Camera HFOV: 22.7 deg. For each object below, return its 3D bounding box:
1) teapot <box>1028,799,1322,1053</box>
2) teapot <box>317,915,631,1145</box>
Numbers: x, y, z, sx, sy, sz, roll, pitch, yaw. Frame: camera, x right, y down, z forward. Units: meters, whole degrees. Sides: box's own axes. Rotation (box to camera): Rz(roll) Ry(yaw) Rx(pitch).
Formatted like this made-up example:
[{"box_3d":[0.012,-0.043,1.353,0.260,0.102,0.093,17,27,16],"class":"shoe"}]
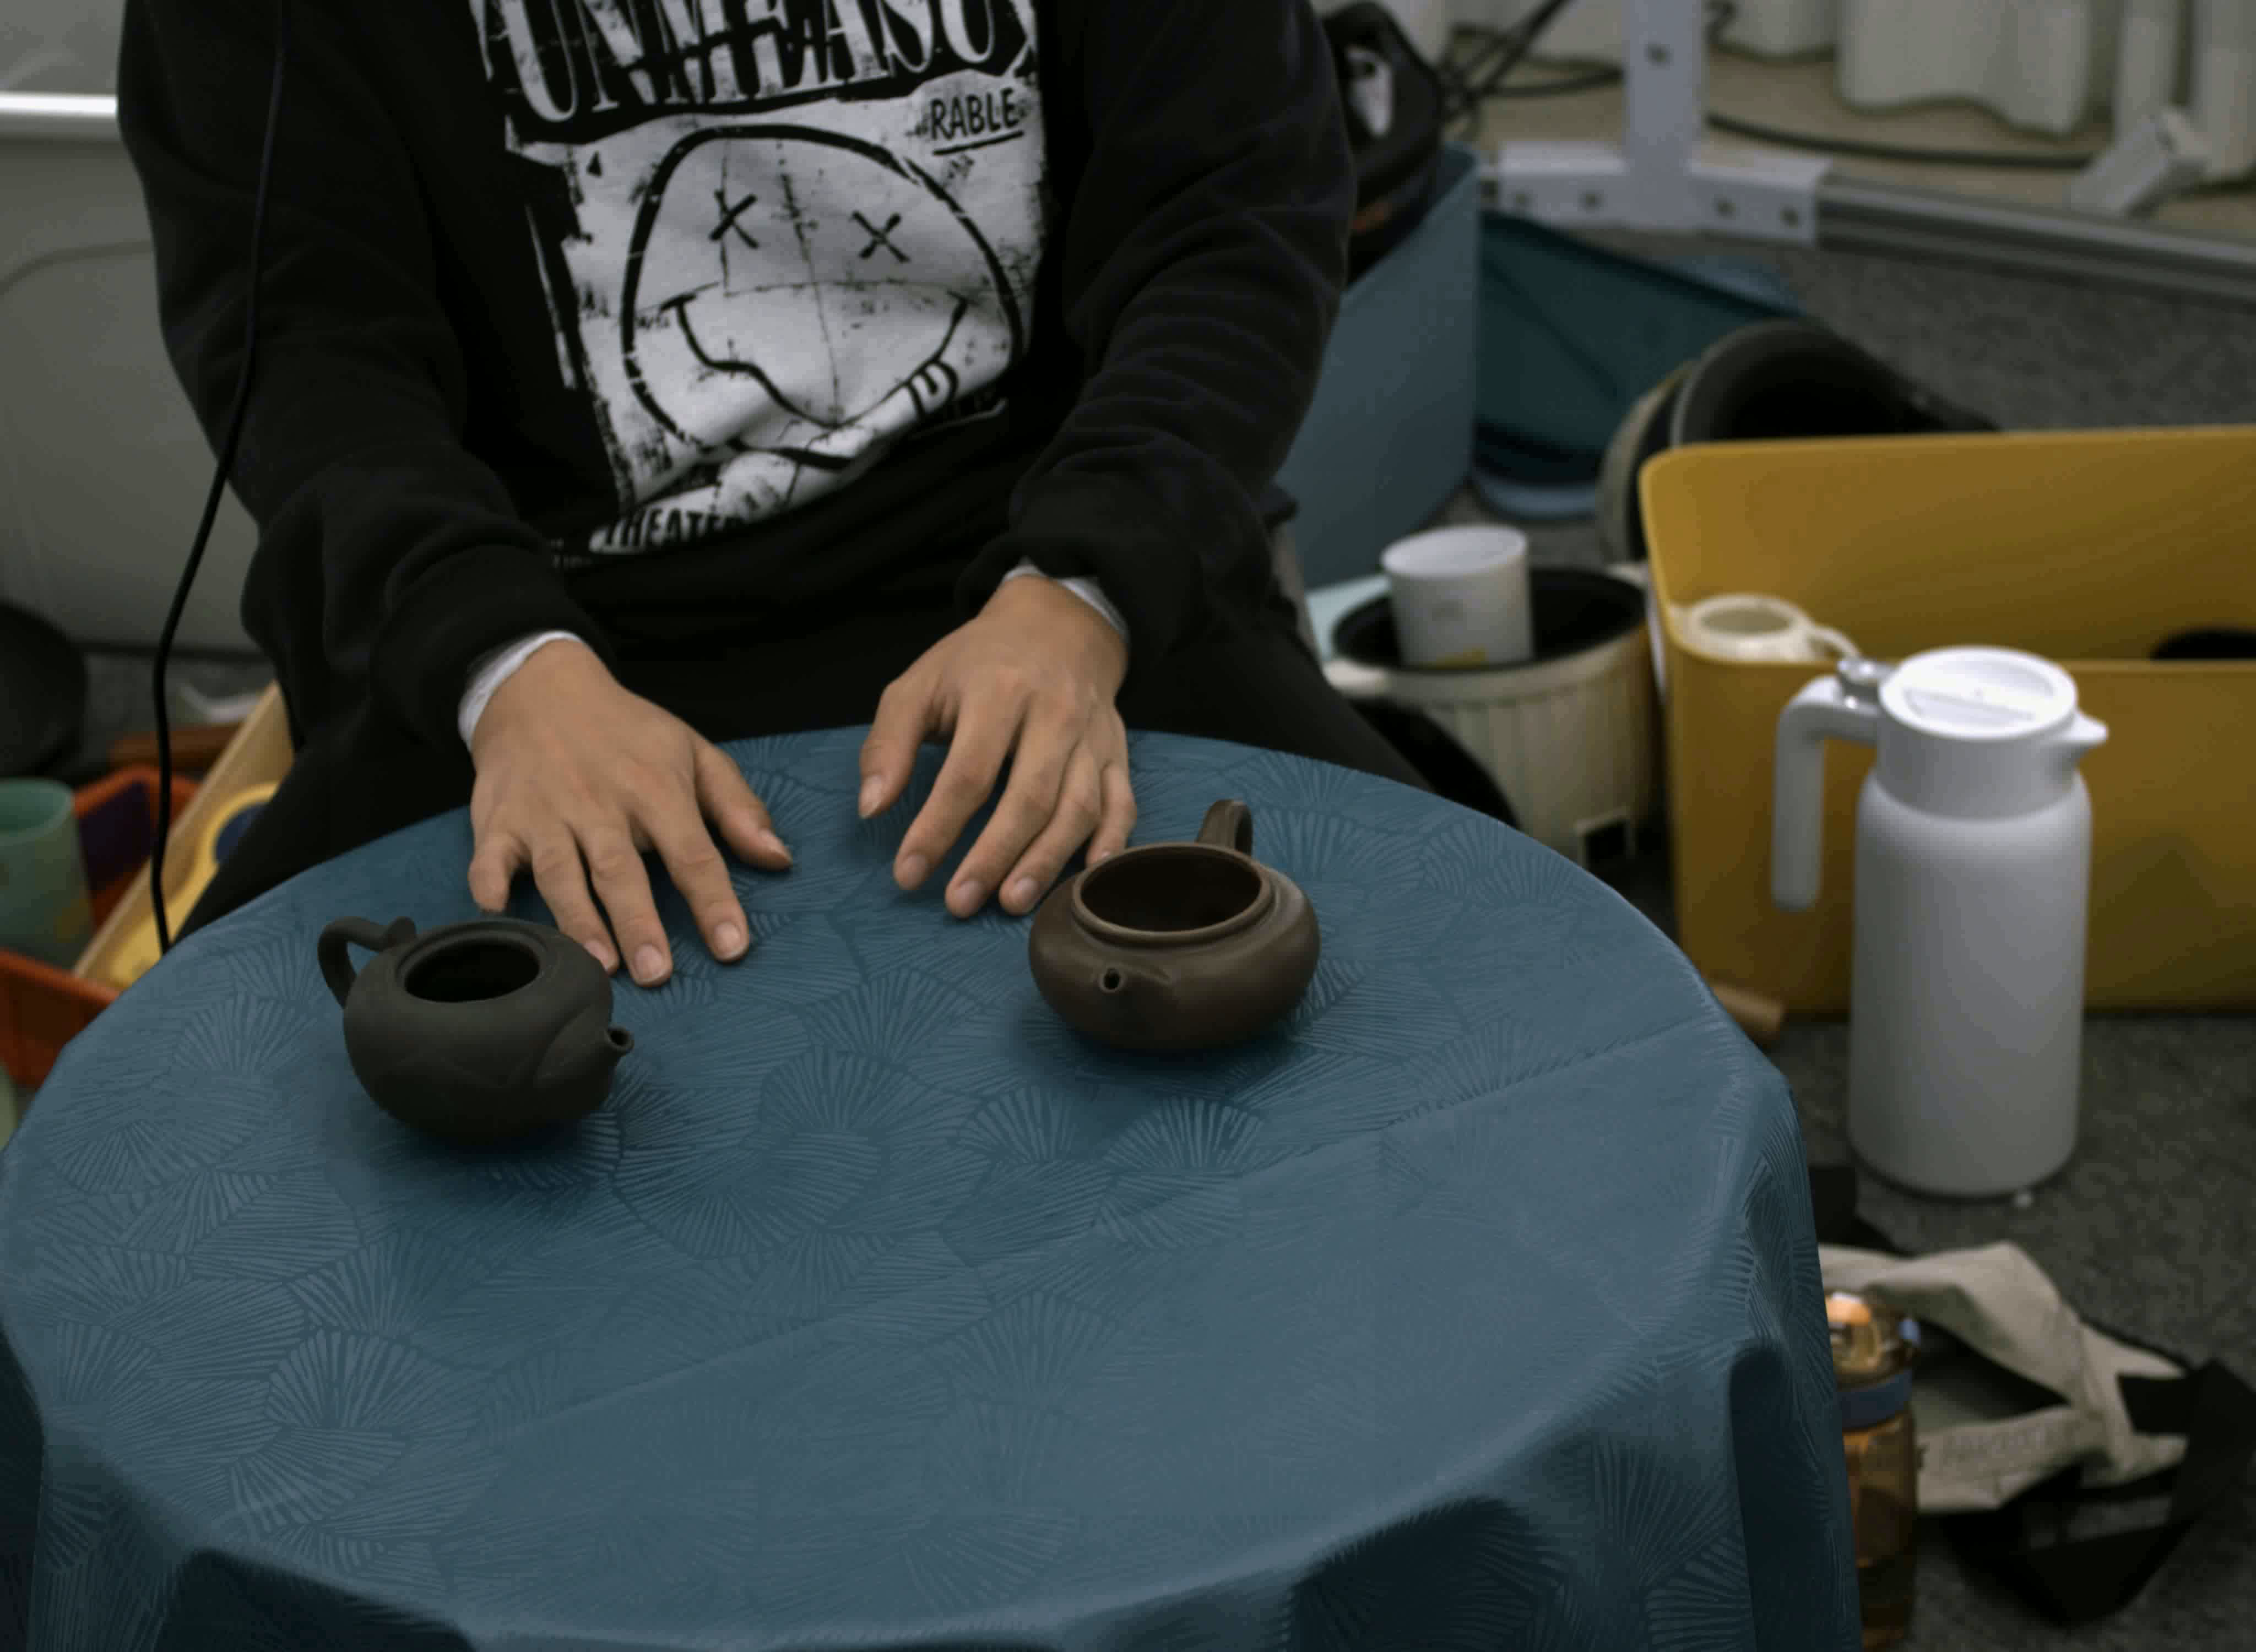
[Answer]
[{"box_3d":[0.017,0.039,1.959,0.102,0.053,0.156,5,28,10],"class":"teapot"},{"box_3d":[-0.224,0.069,1.914,0.154,0.064,0.093,20,33,37],"class":"teapot"}]
